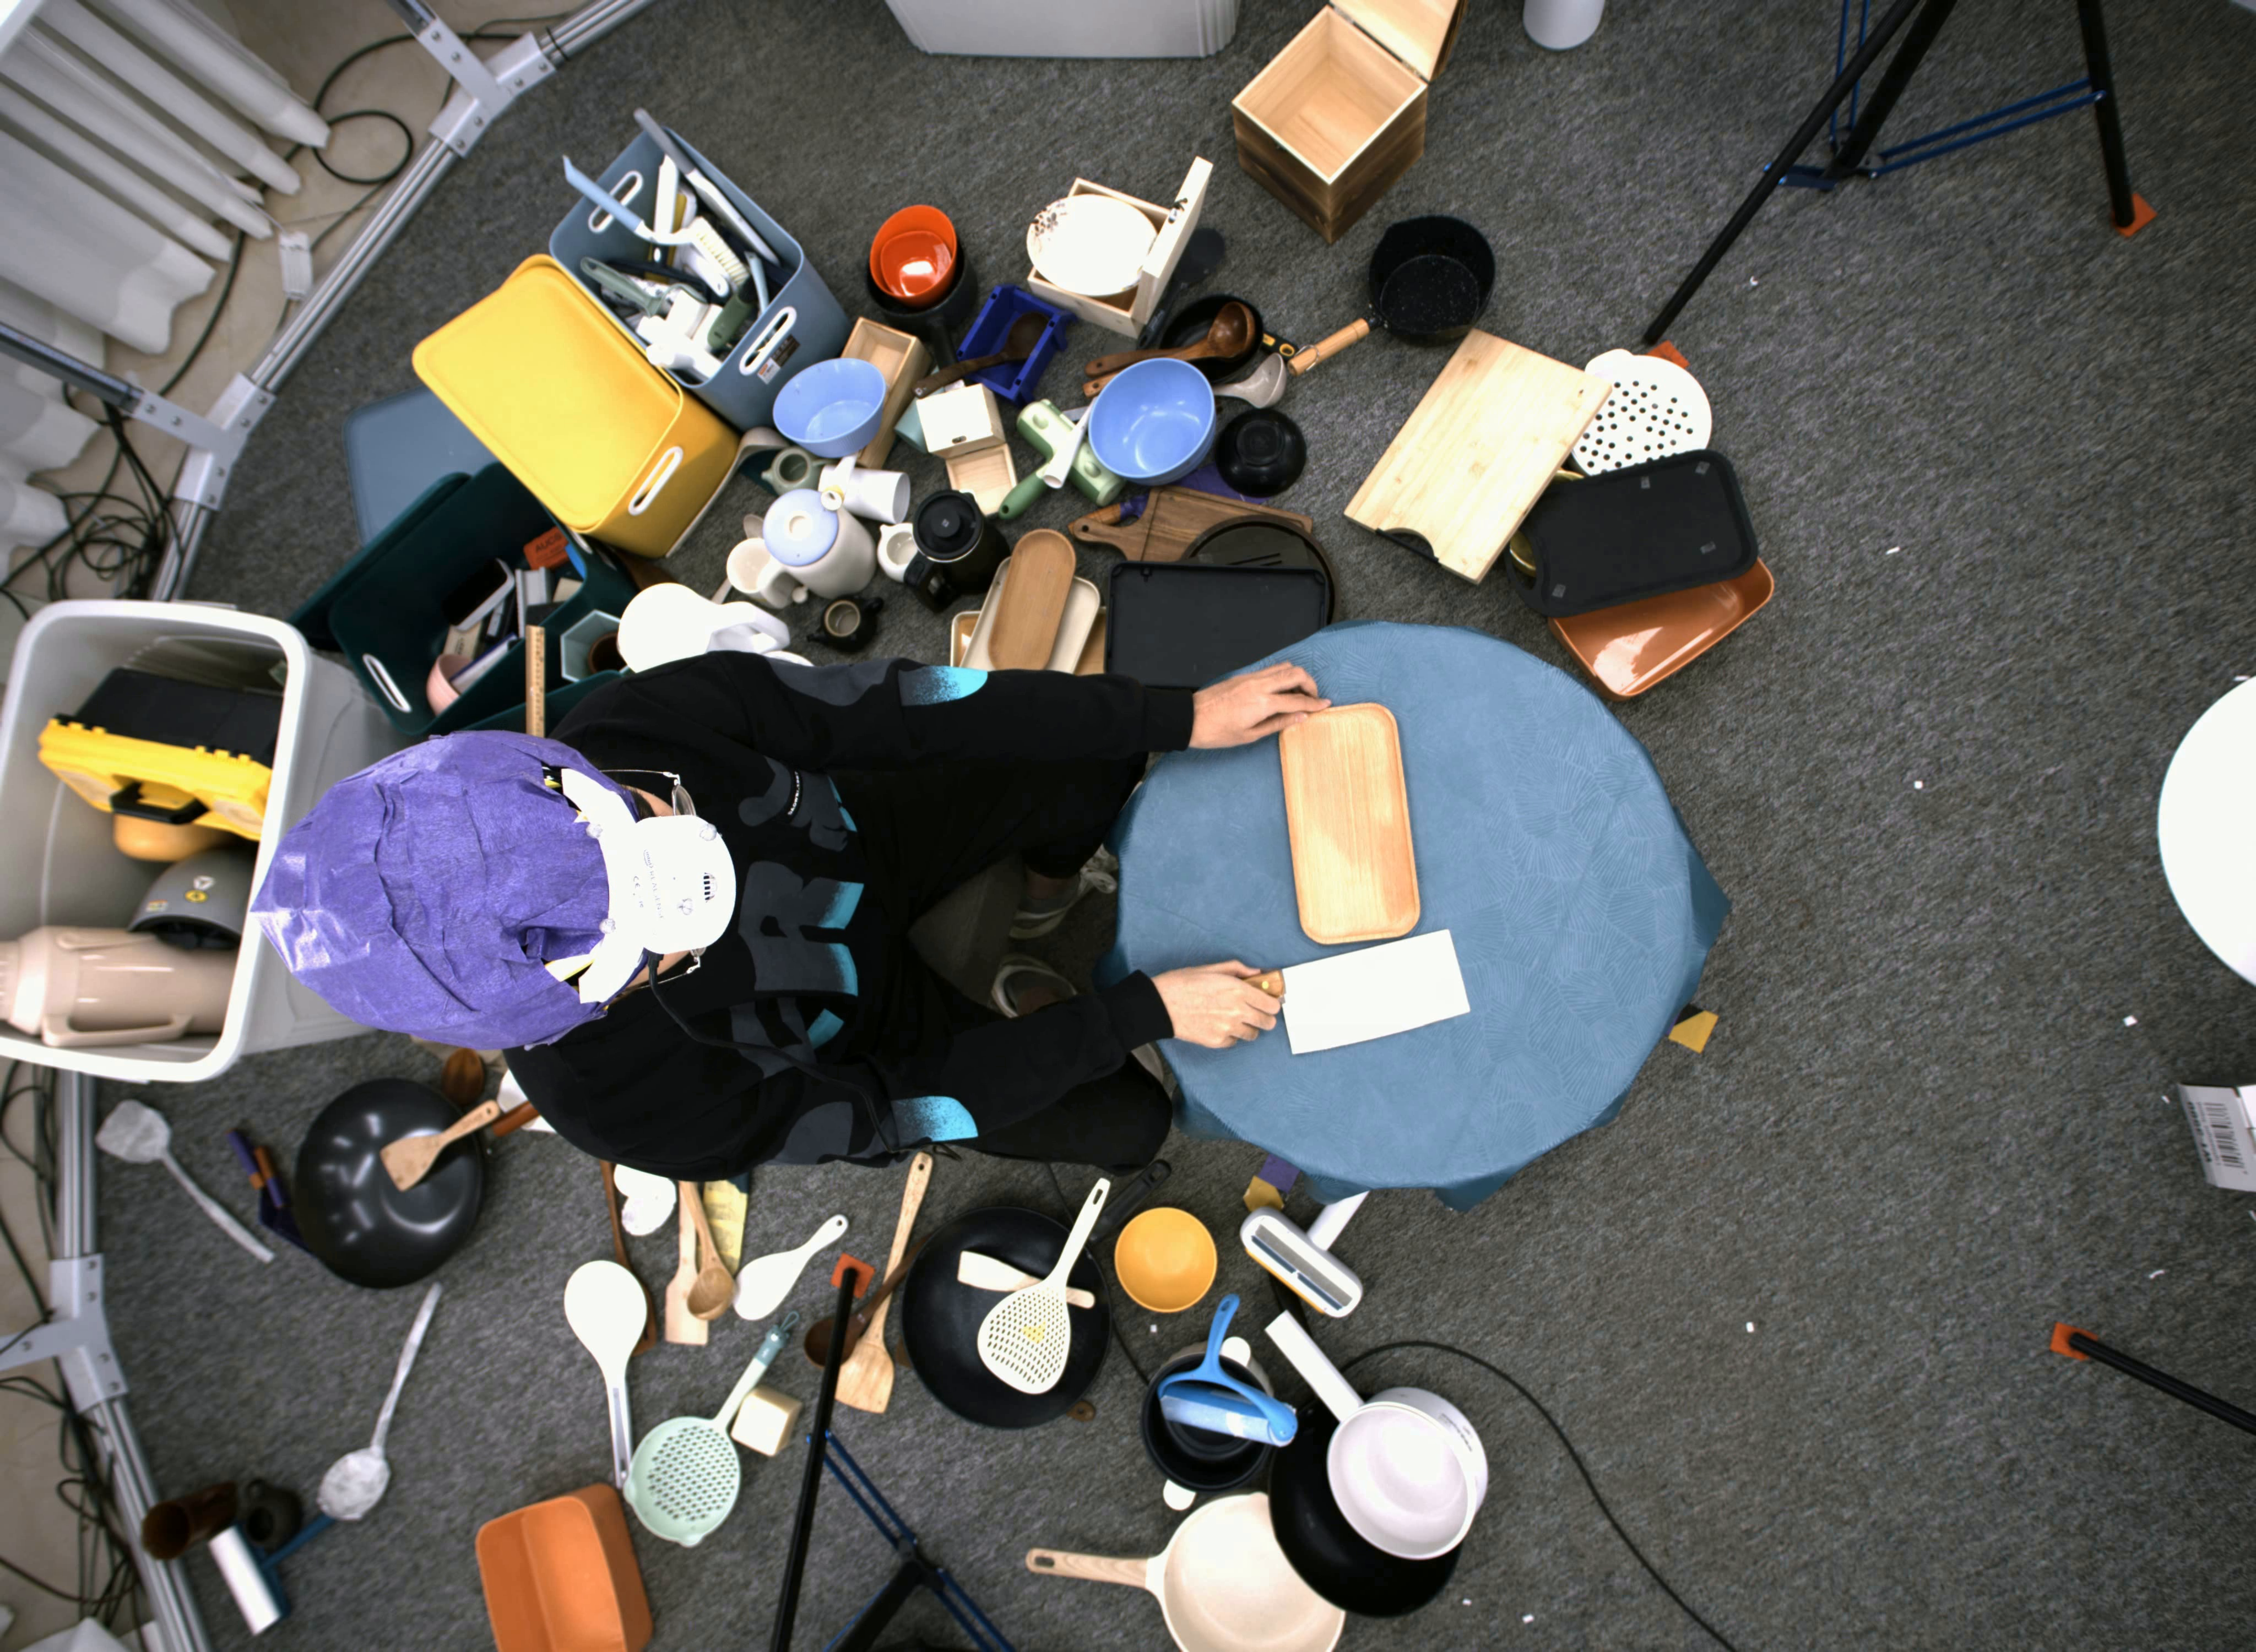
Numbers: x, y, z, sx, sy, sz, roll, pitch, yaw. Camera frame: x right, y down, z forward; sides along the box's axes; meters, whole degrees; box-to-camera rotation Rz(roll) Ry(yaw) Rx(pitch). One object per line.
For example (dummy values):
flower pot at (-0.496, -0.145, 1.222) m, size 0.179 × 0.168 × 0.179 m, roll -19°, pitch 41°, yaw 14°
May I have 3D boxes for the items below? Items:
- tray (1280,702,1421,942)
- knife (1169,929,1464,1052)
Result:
tray at (0.235, -0.005, 1.463) m, size 0.131 × 0.023 × 0.249 m, roll -5°, pitch 85°, yaw 8°
knife at (0.199, 0.184, 1.459) m, size 0.307 × 0.021 × 0.092 m, roll -14°, pitch 85°, yaw 7°
